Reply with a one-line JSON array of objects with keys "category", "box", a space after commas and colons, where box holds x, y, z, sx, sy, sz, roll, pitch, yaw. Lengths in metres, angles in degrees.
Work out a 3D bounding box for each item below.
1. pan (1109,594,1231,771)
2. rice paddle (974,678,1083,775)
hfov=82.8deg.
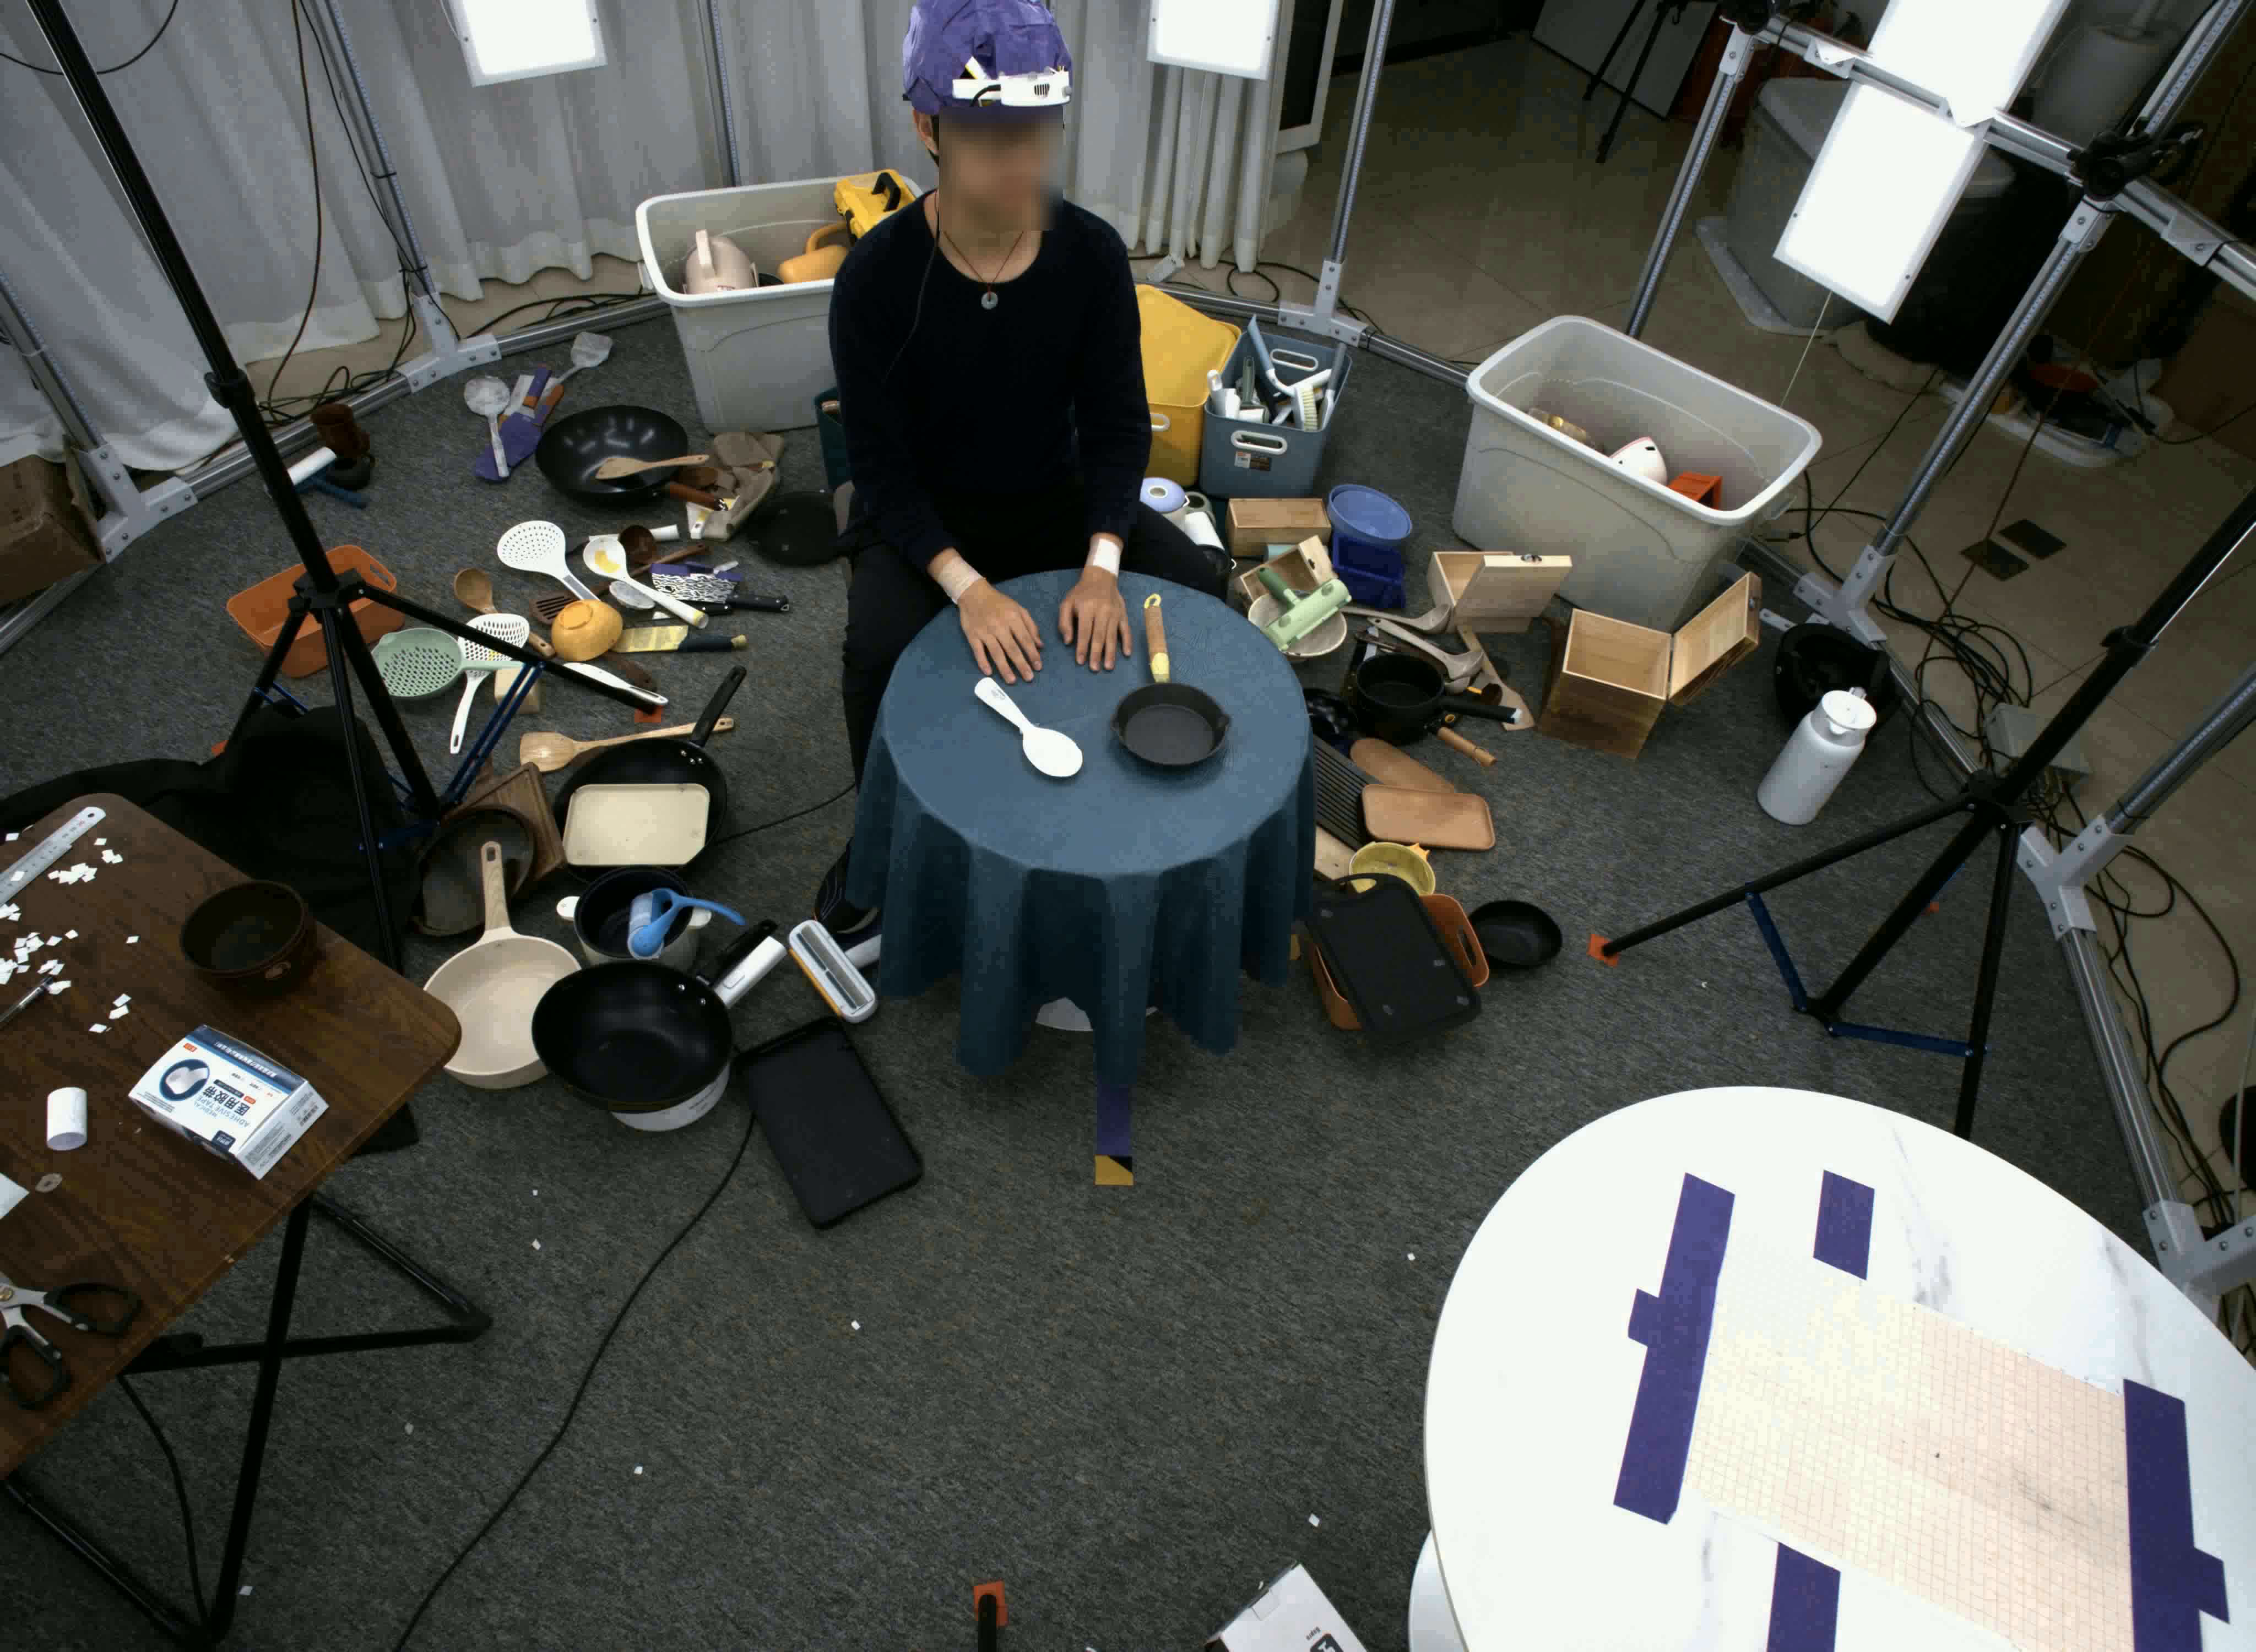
[{"category": "pan", "box": [0.051, -0.204, 1.817, 0.169, 0.048, 0.332, -1, 51, -5]}, {"category": "rice paddle", "box": [-0.137, -0.136, 1.759, 0.069, 0.029, 0.209, -32, 58, -25]}]
